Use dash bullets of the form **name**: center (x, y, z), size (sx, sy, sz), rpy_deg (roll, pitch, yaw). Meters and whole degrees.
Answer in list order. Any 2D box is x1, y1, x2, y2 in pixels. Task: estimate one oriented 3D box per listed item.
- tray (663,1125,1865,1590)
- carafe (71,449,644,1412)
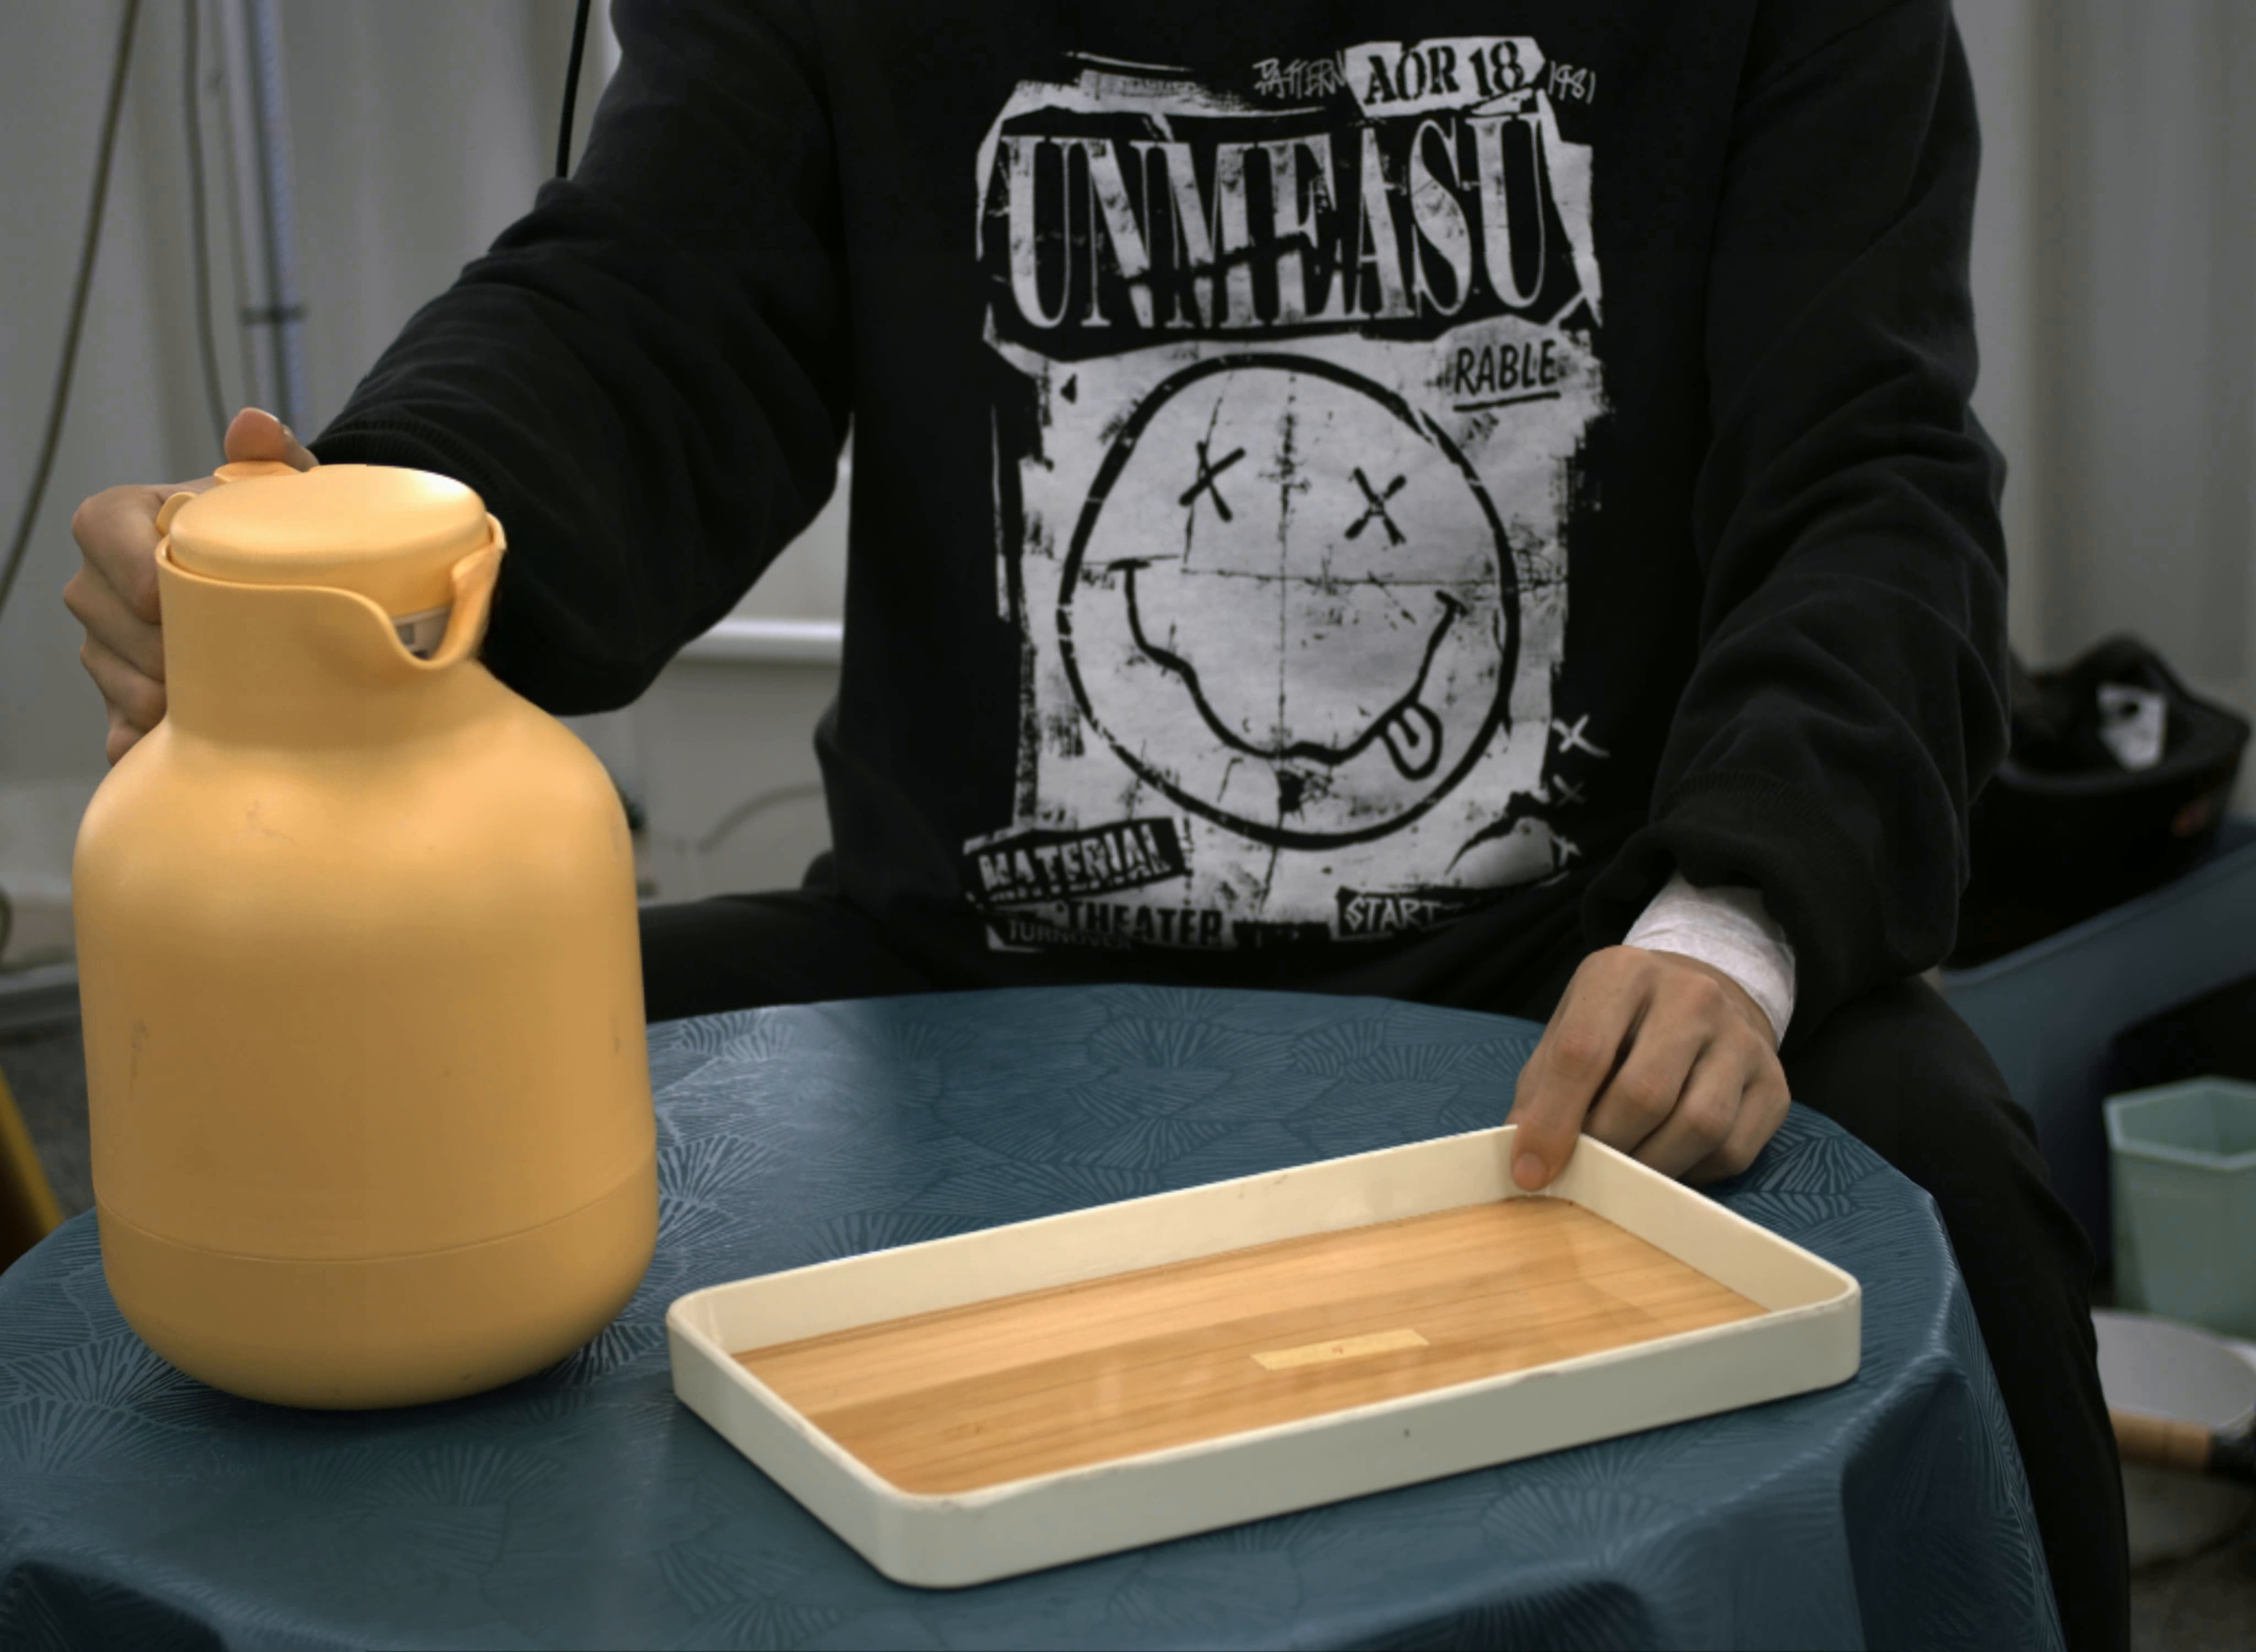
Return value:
- **tray**: center (0.037, 0.145, 1.541), size (0.299, 0.027, 0.193), rpy_deg (-9, 16, -24)
- **carafe**: center (-0.229, 0.021, 1.589), size (0.162, 0.259, 0.204), rpy_deg (-8, 20, -26)
